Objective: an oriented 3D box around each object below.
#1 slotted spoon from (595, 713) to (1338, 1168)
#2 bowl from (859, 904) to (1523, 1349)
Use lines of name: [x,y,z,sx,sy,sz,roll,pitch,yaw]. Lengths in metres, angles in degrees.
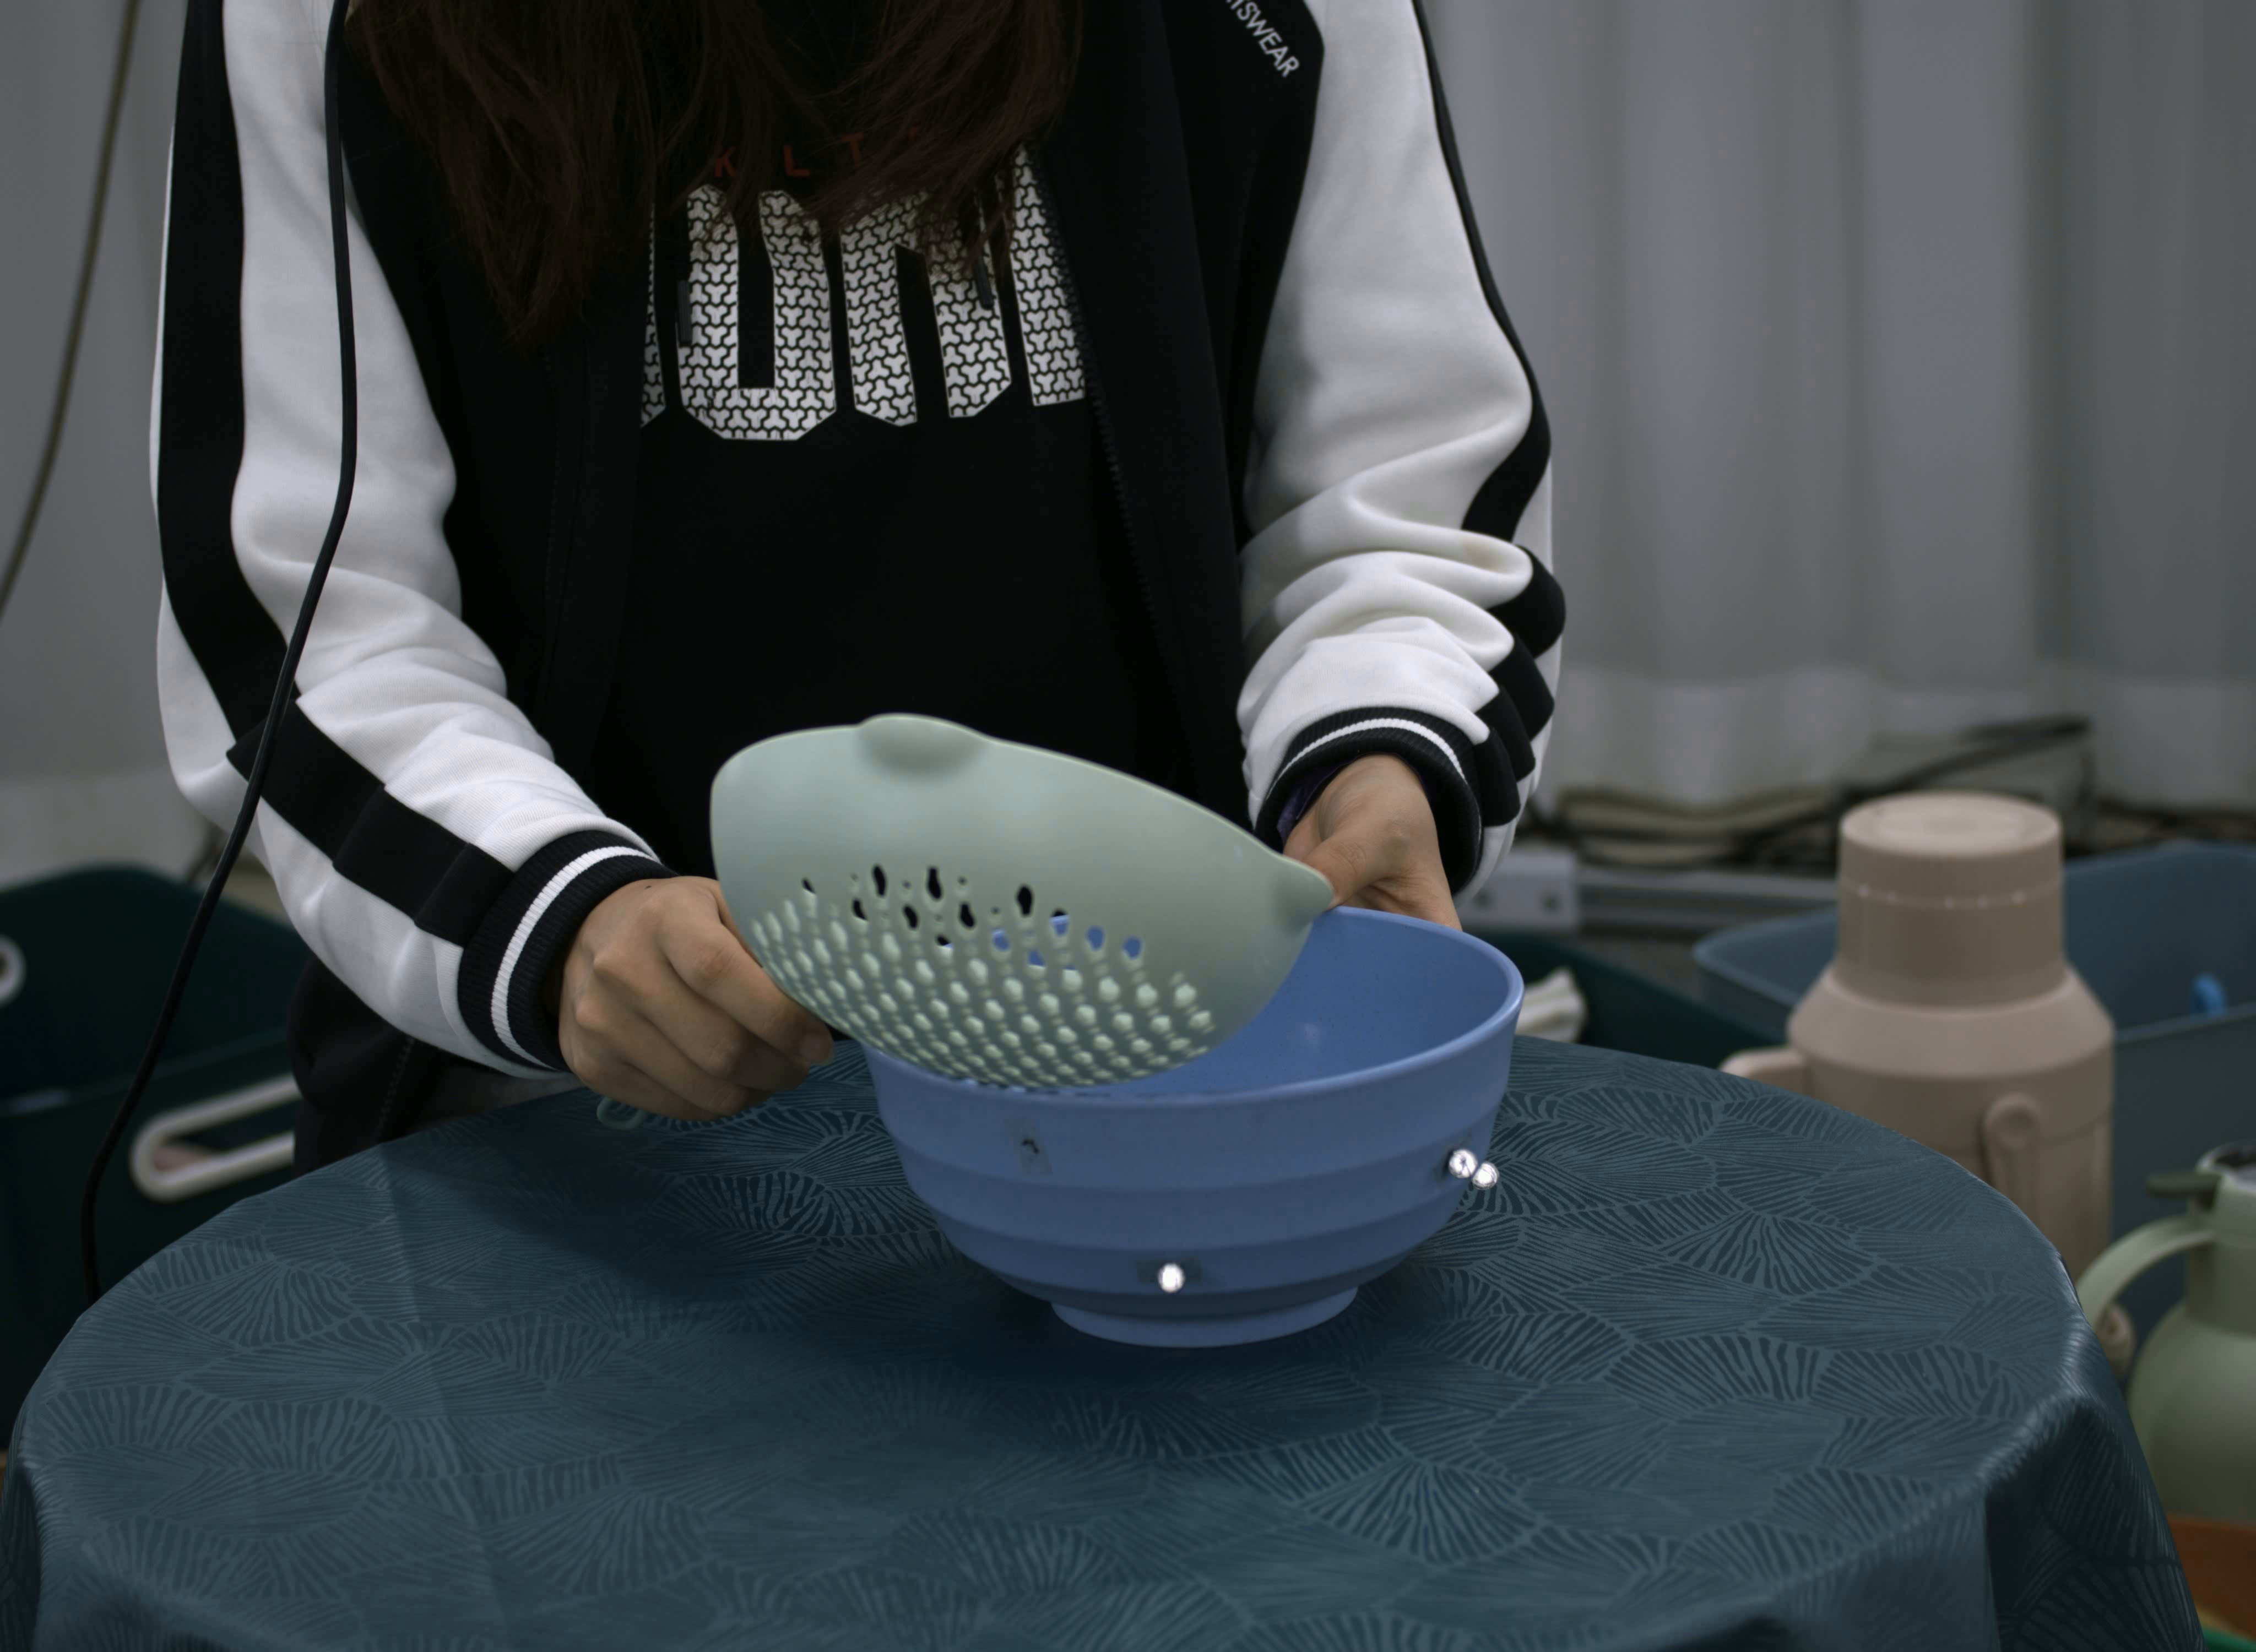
slotted spoon: [-0.079,0.047,1.578,0.168,0.076,0.358,22,-17,-21]
bowl: [0.020,0.094,1.606,0.196,0.095,0.198,-3,15,1]
